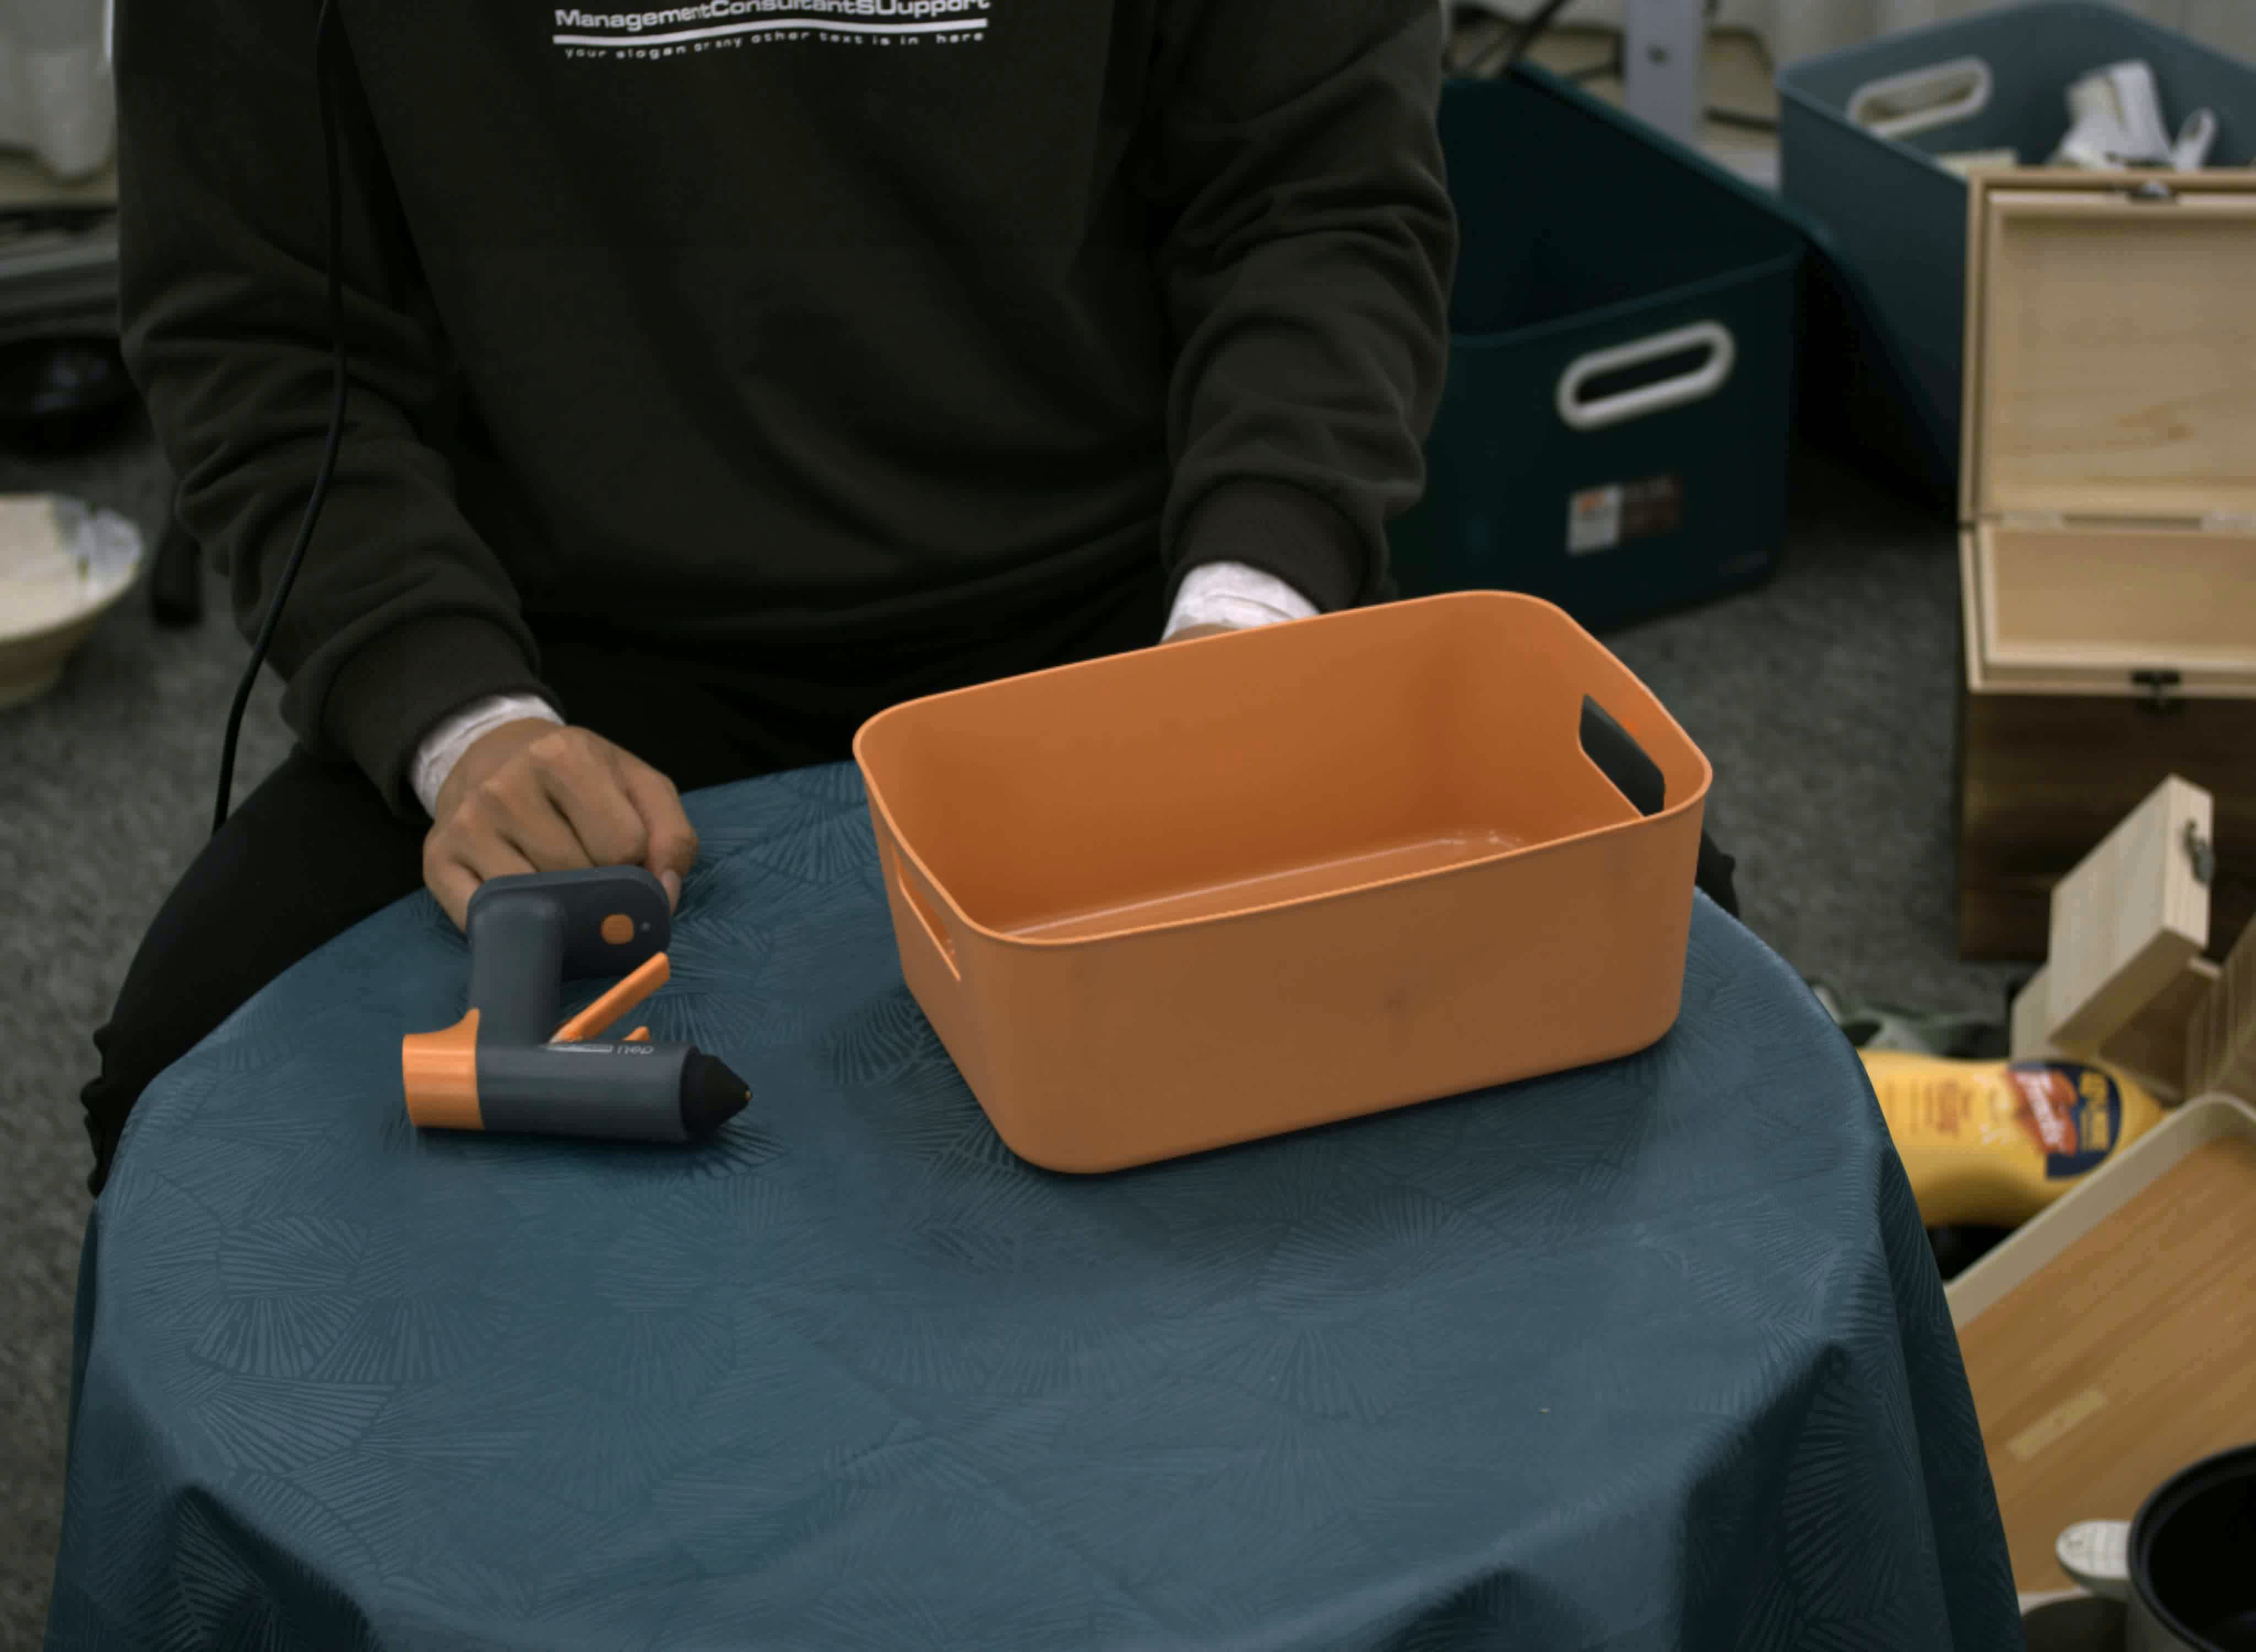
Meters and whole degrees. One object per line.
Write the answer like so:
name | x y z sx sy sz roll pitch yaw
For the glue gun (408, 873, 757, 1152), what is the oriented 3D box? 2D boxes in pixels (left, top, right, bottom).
glue gun | -0.189 0.070 1.952 0.117 0.040 0.142 -3 30 -4

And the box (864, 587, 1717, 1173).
box | 0.055 0.018 1.949 0.273 0.101 0.201 -12 29 -16
